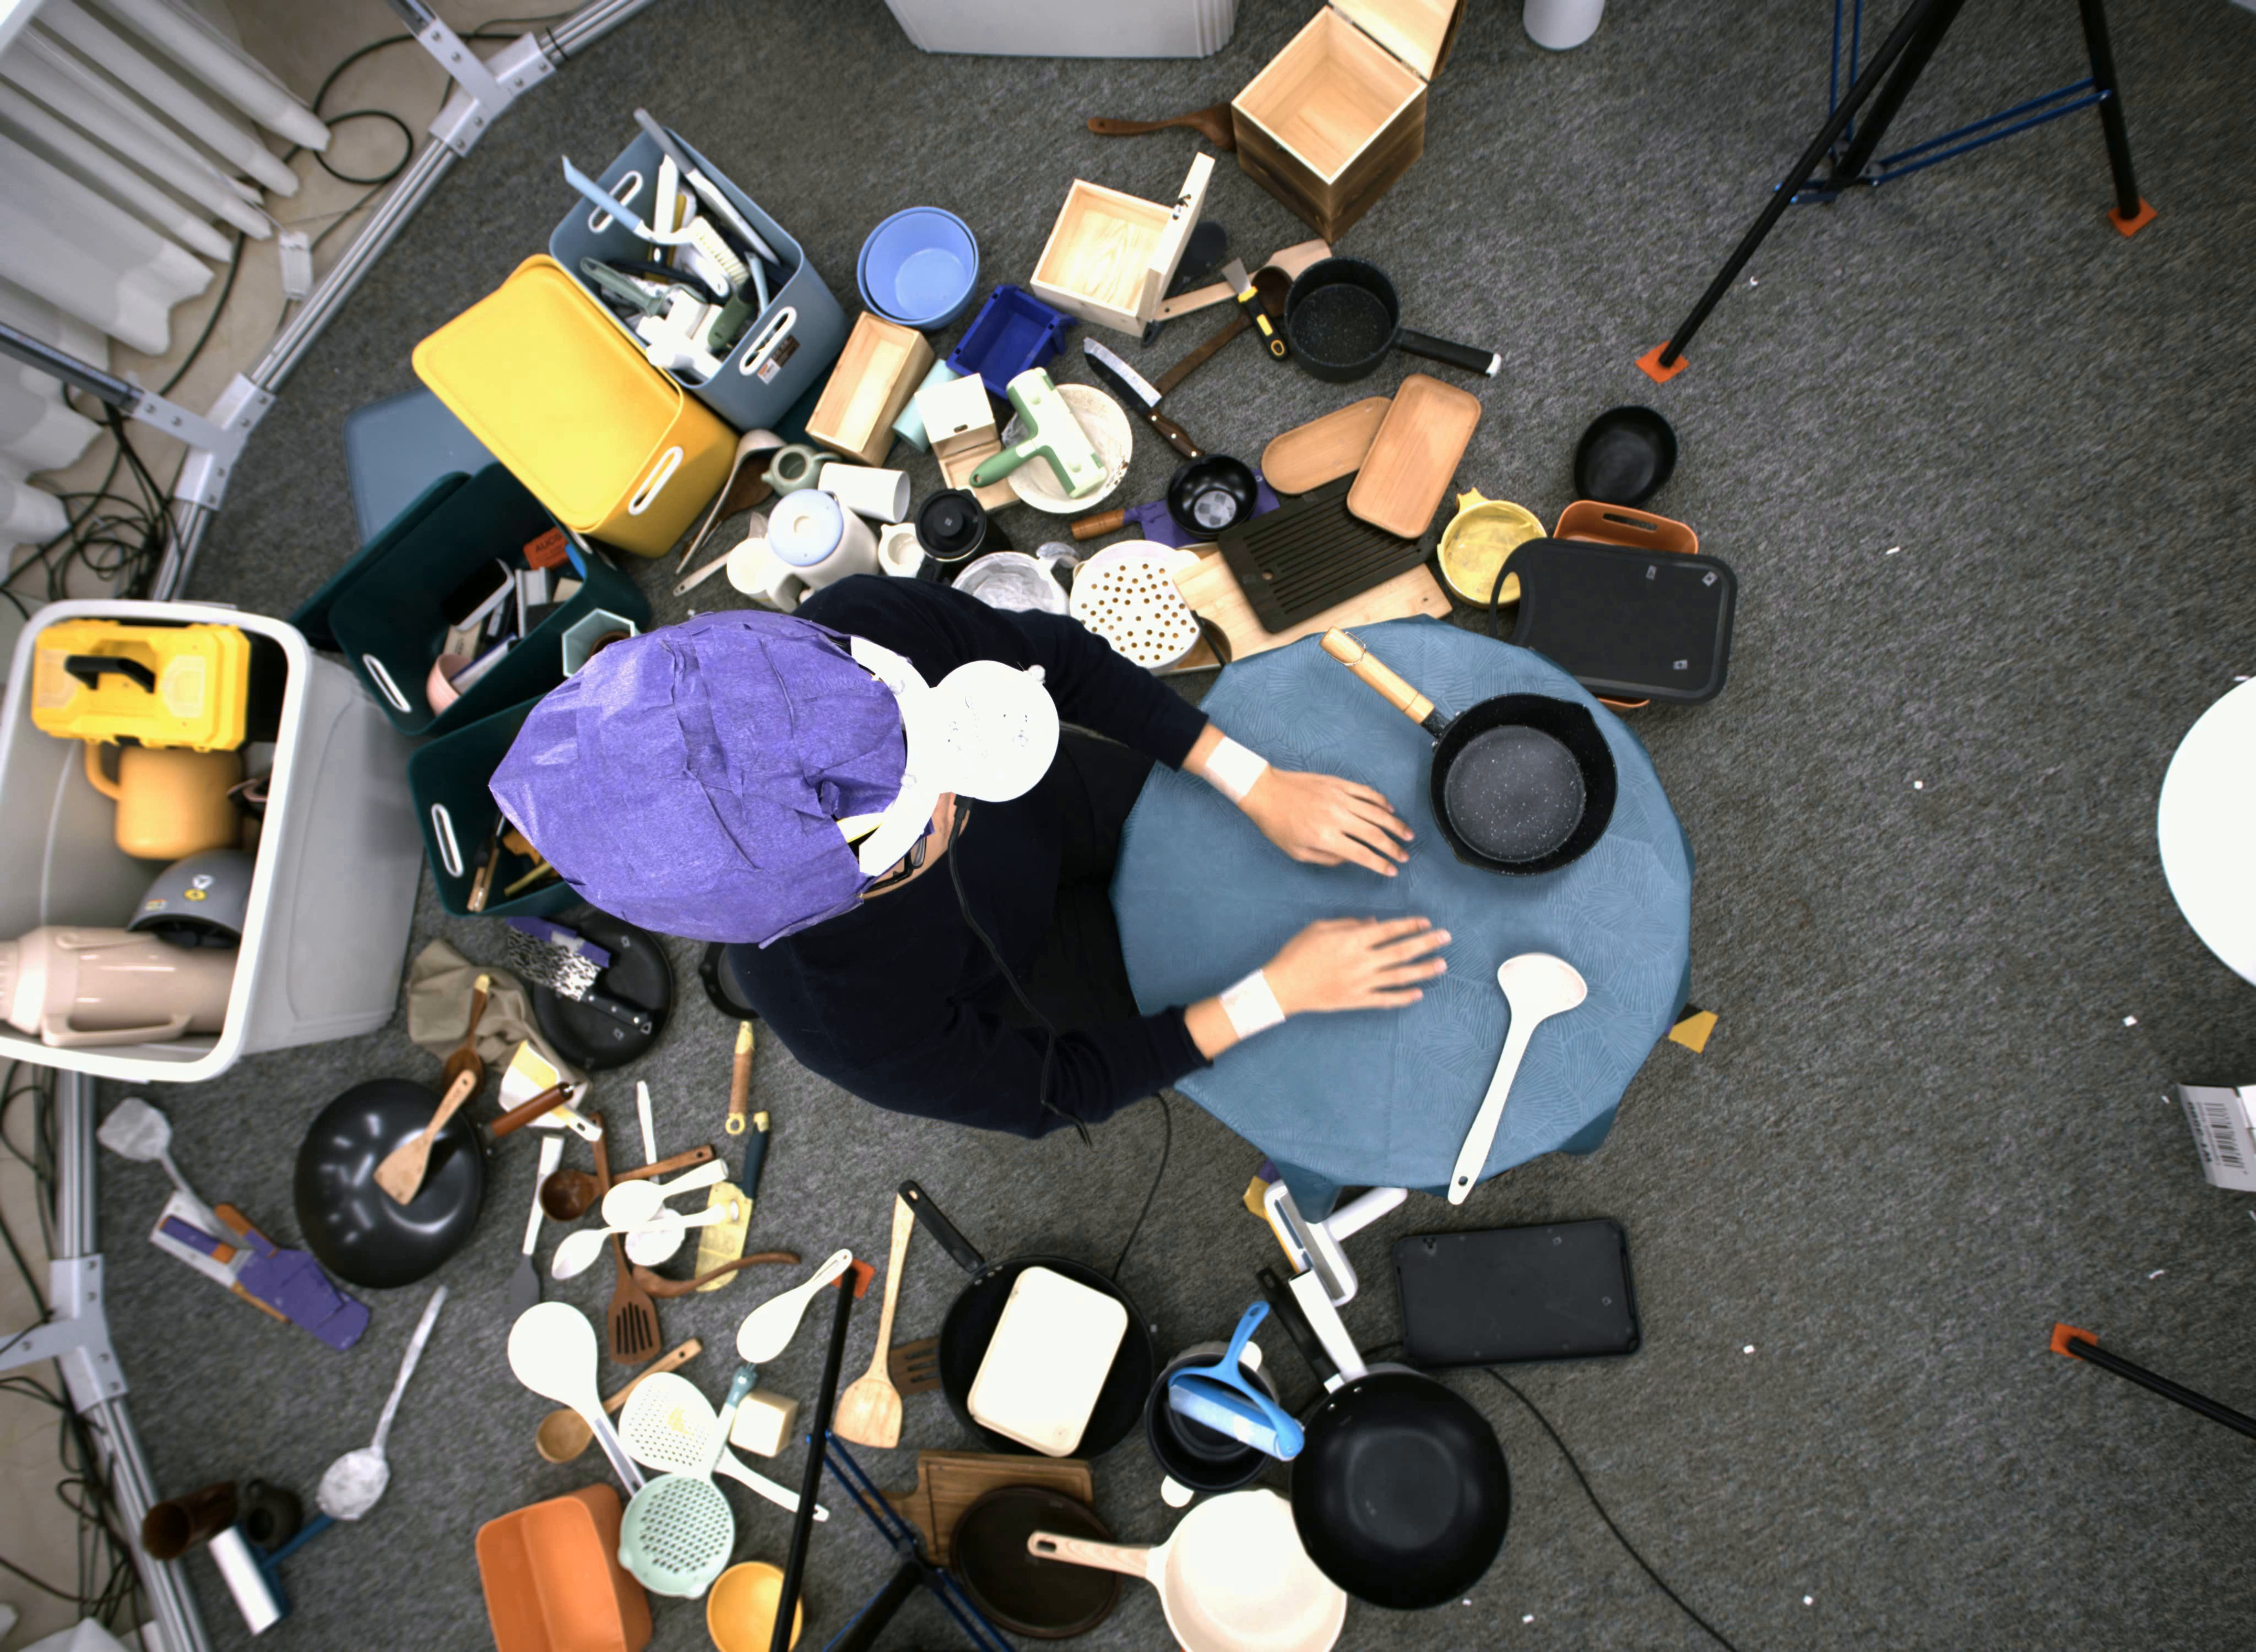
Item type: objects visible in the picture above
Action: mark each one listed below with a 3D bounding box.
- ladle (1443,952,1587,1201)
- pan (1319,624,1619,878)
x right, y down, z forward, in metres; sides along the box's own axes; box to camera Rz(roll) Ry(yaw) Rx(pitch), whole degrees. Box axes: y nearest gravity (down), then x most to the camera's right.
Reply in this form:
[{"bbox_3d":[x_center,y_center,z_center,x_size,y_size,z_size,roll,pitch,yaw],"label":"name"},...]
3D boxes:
[{"bbox_3d":[0.381,0.257,1.398,0.089,0.069,0.275,21,93,2],"label":"ladle"},{"bbox_3d":[0.334,-0.088,1.402,0.342,0.108,0.208,37,94,9],"label":"pan"}]
